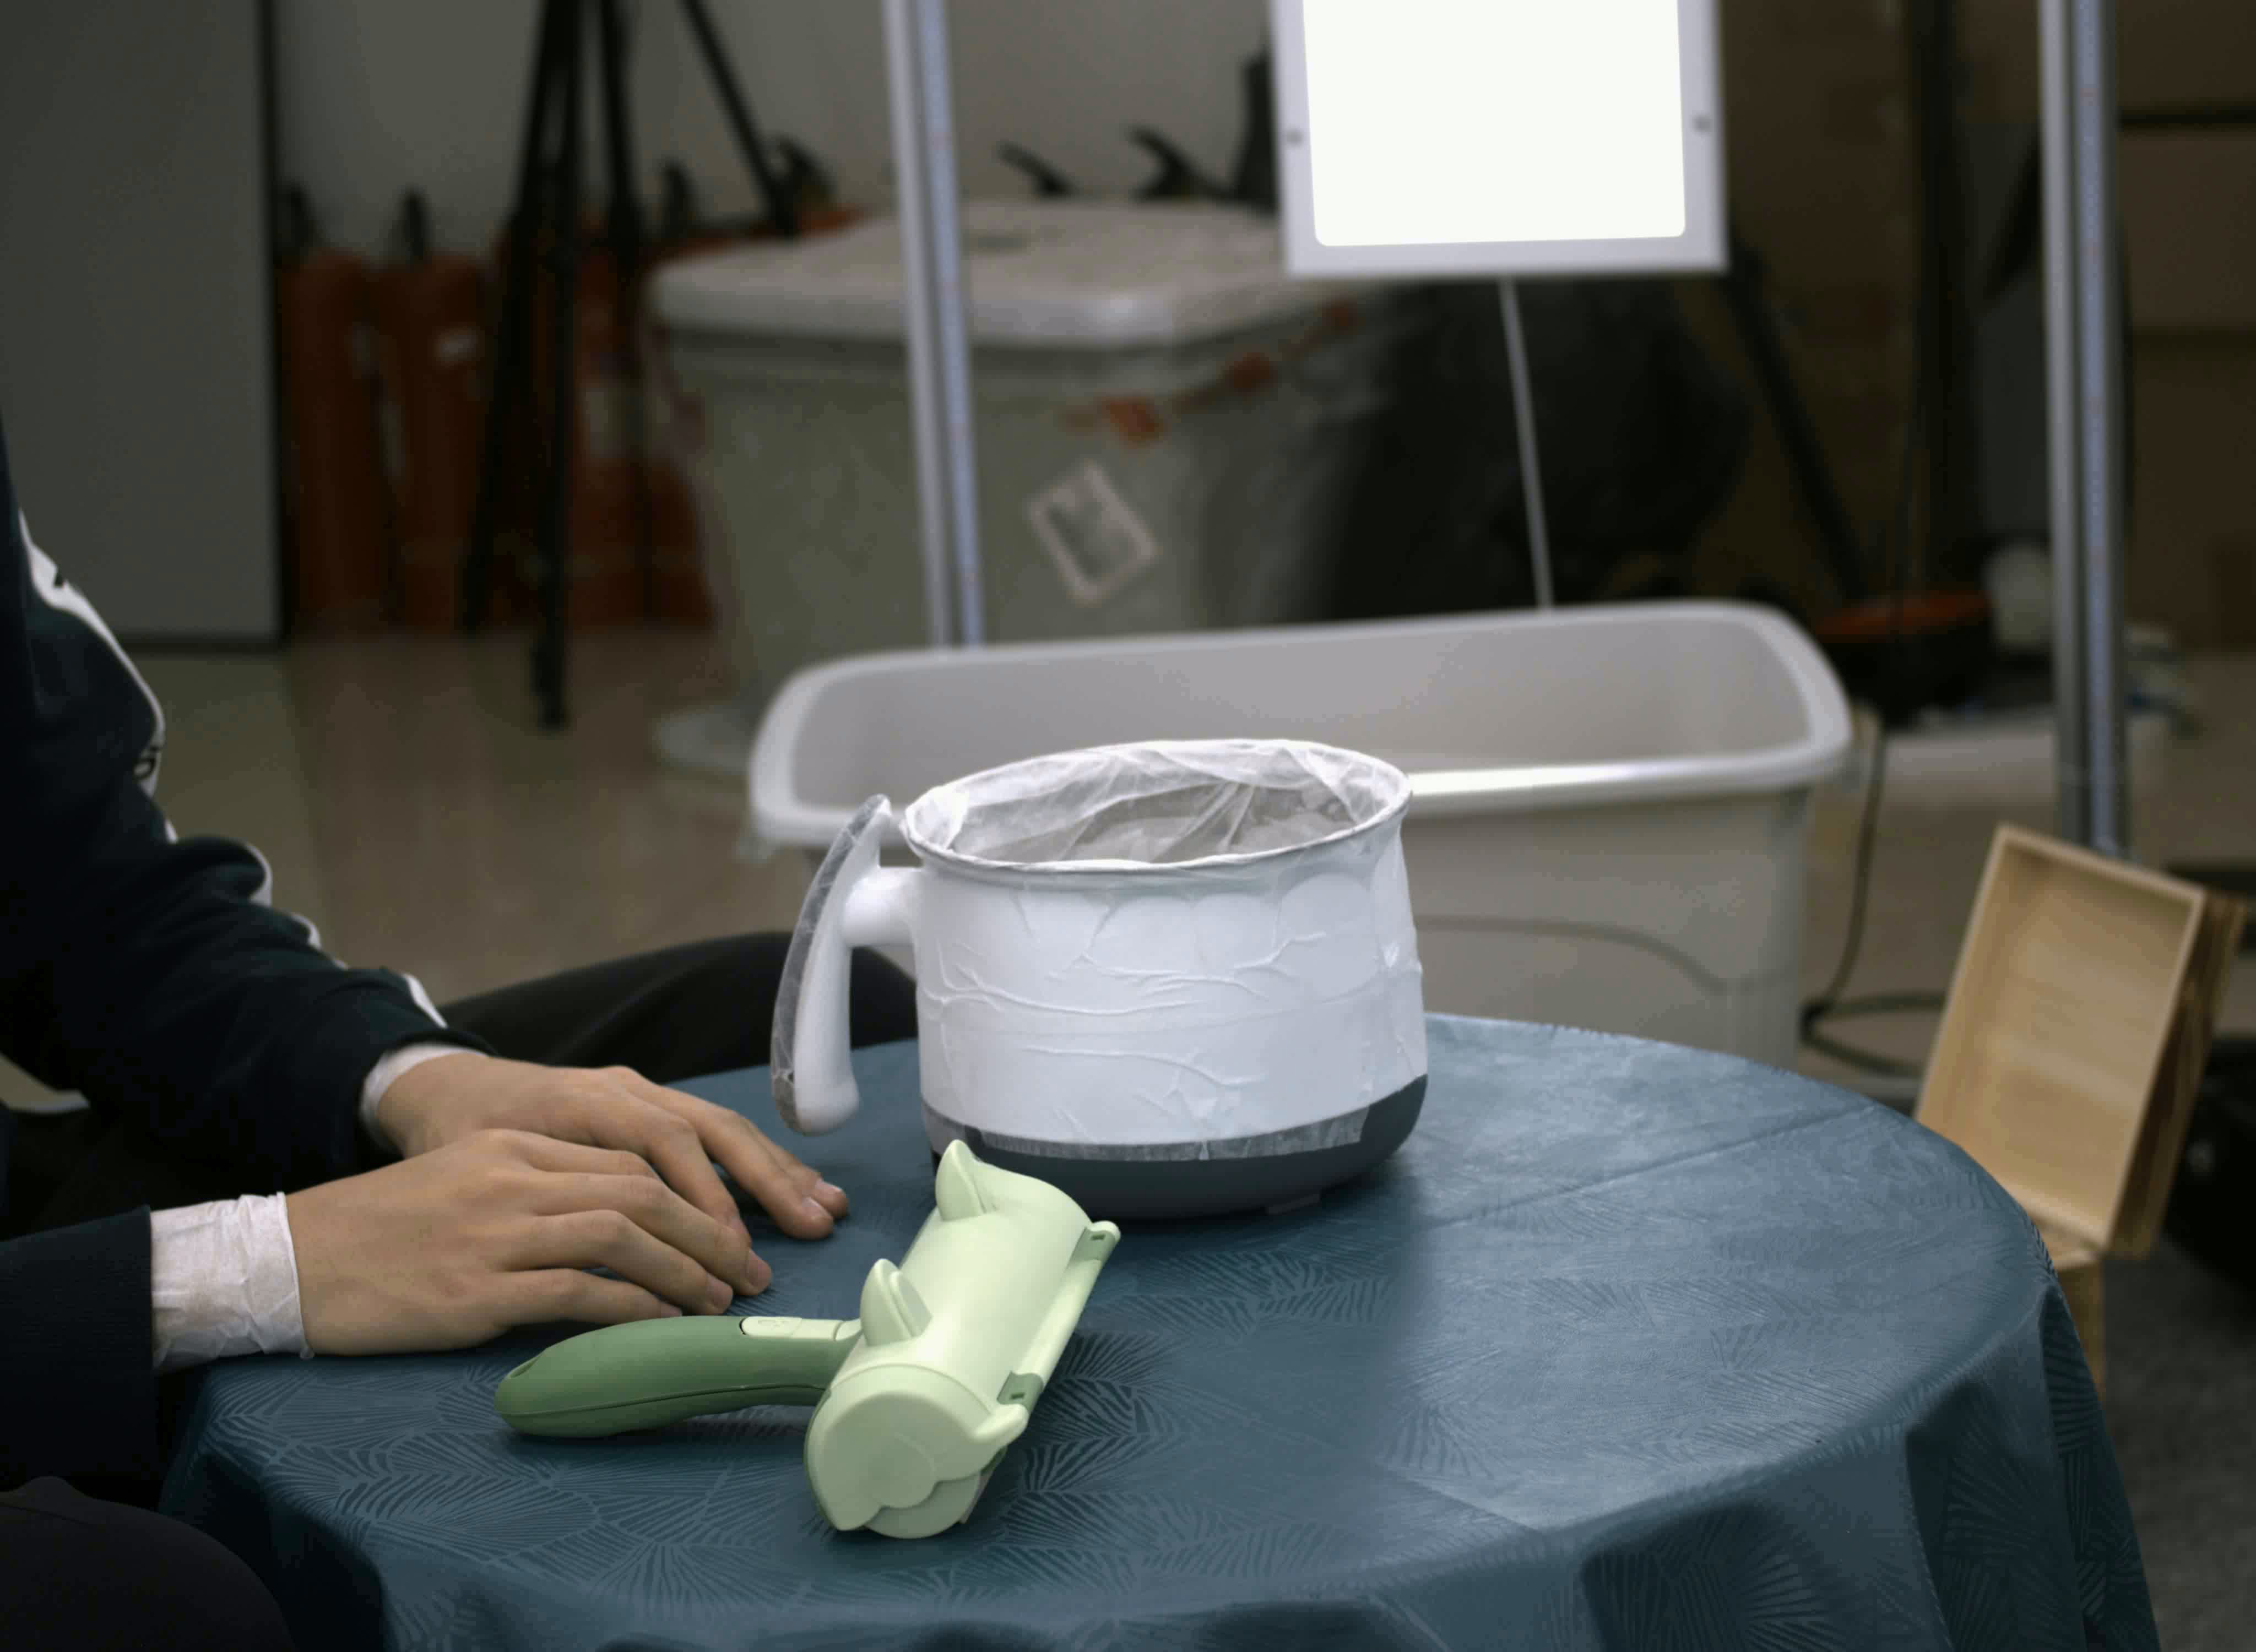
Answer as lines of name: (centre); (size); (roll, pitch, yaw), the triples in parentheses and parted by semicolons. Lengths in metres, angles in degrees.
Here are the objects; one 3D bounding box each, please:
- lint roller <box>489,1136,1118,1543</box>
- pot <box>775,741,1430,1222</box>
lint roller: (-0.107, 0.149, 1.683); (0.184, 0.082, 0.196); (3, 15, 10)
pot: (-0.012, 0.054, 1.909); (0.235, 0.137, 0.176); (-2, 14, 13)
